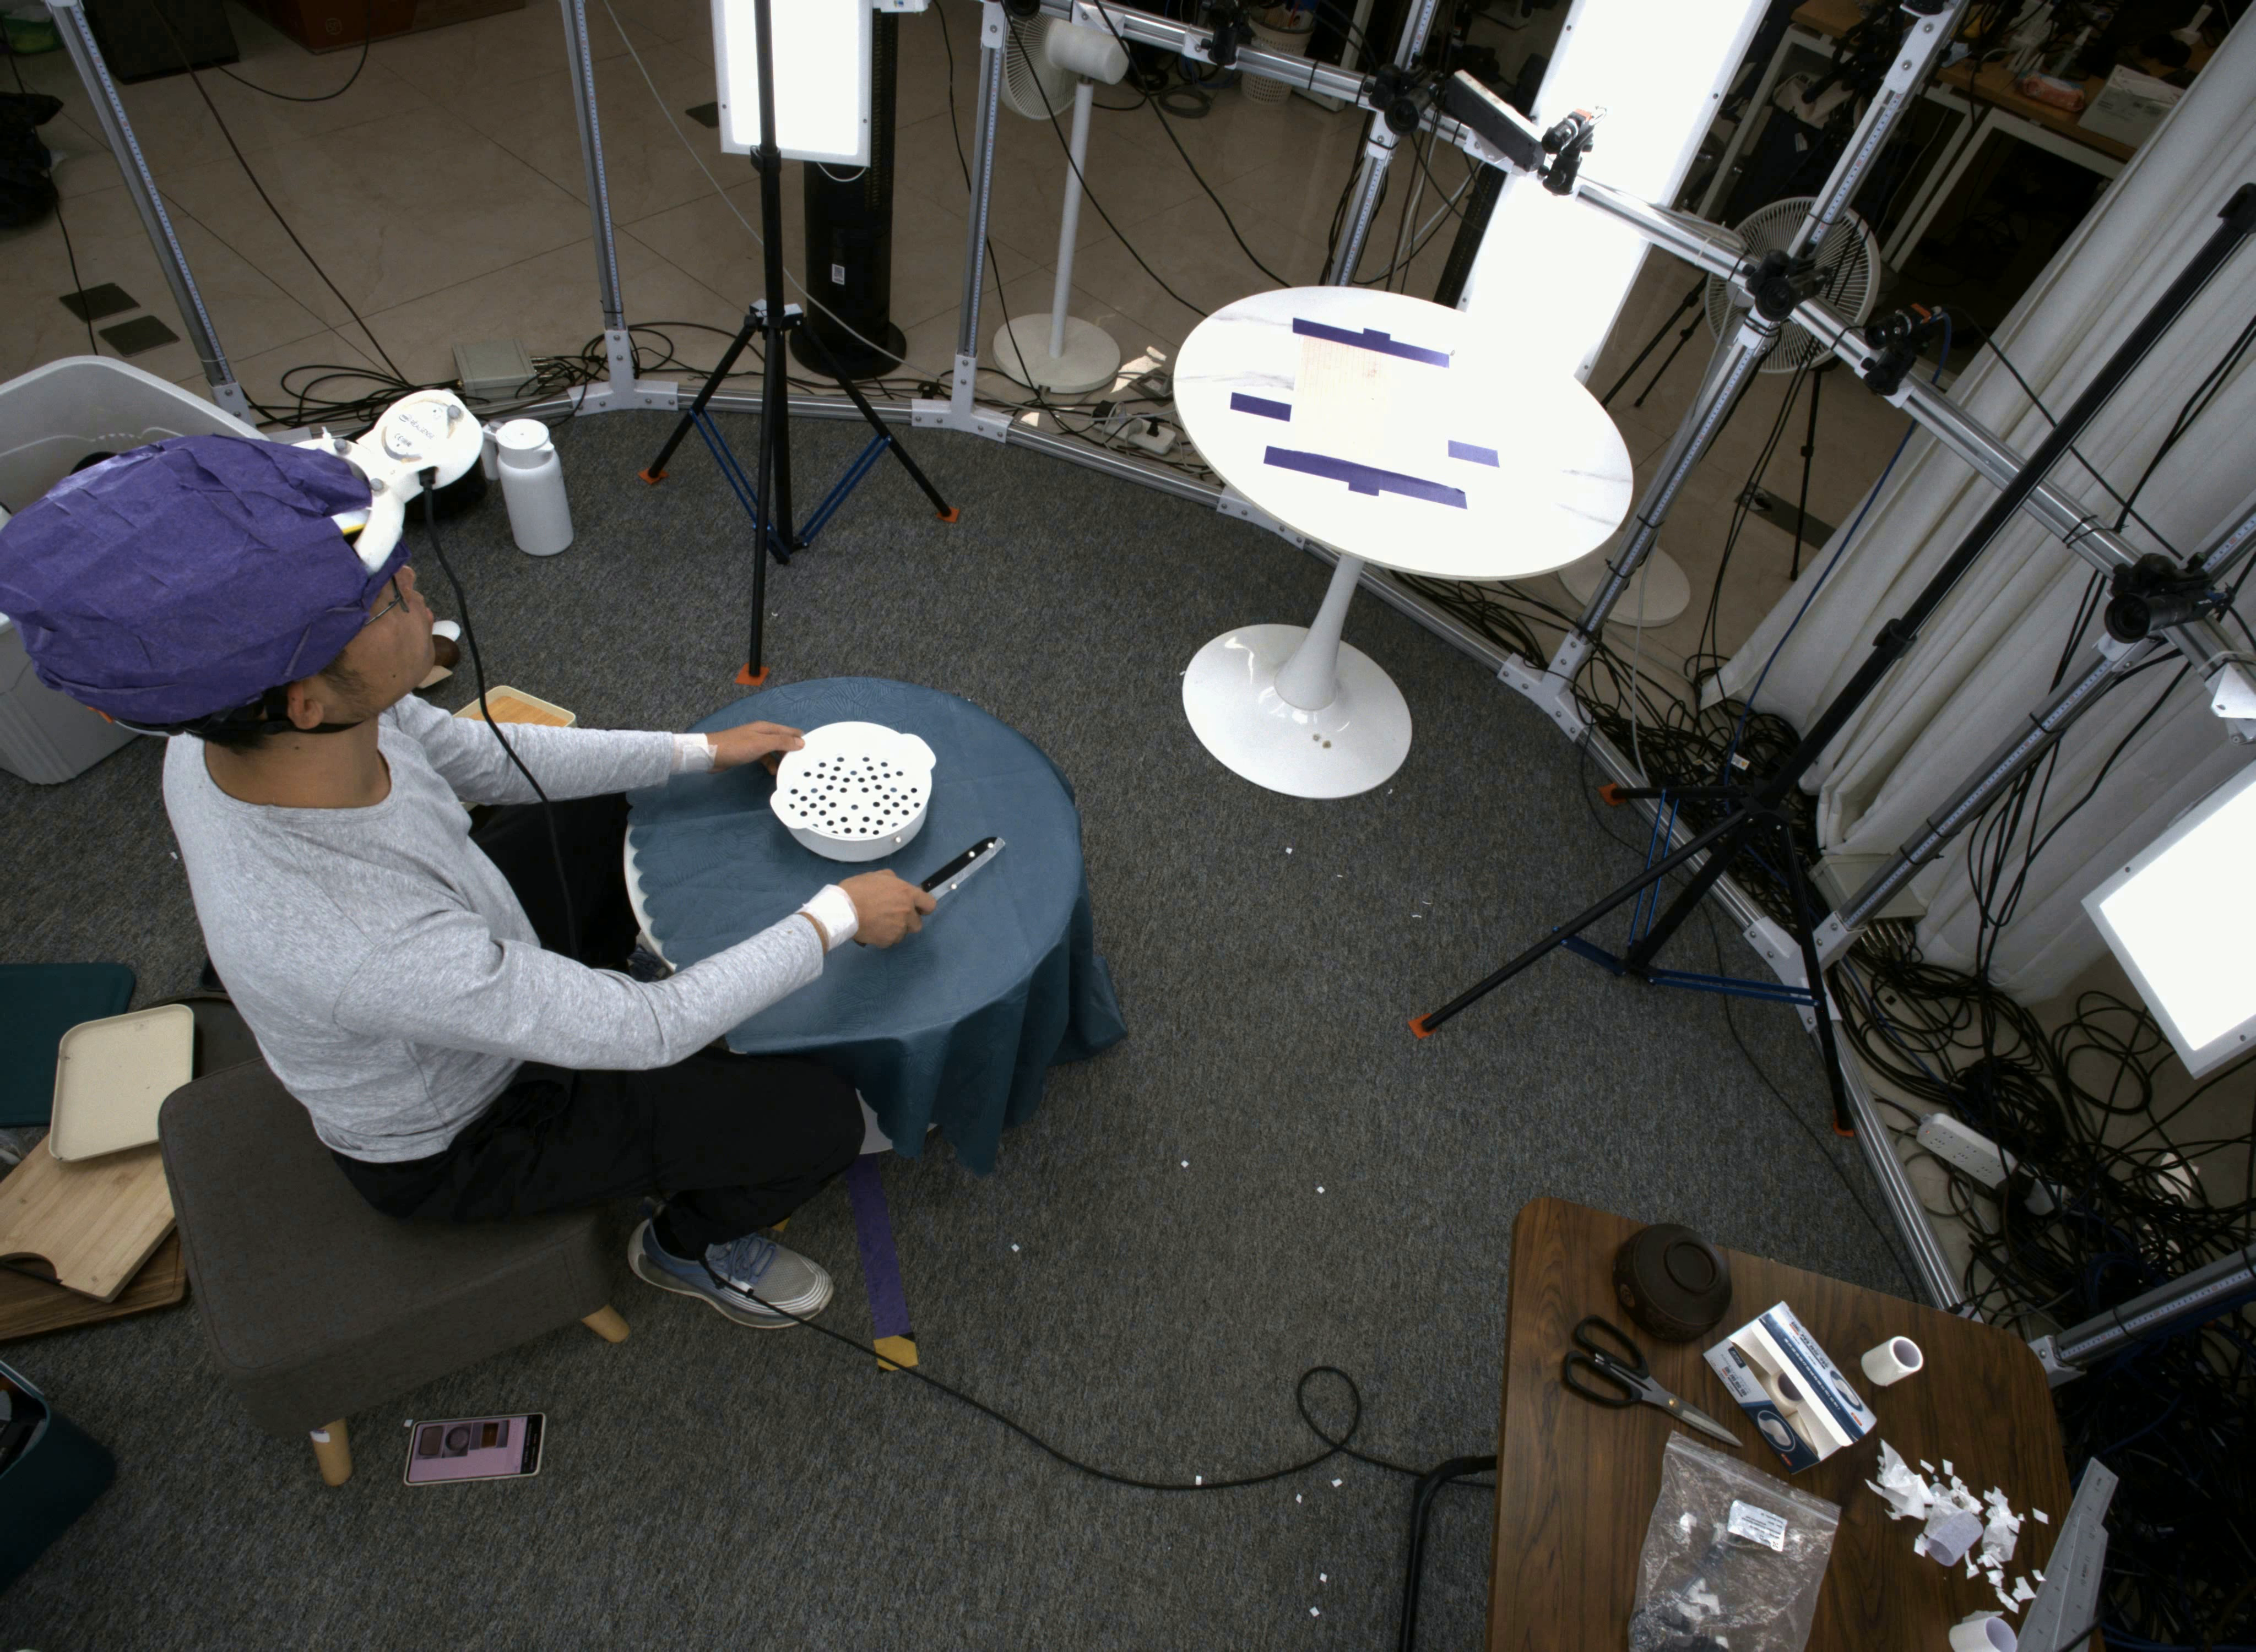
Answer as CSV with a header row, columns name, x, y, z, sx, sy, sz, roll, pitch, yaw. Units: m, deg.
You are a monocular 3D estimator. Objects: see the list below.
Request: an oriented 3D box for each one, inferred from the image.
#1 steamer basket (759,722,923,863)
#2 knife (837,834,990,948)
name,x,y,z,sx,sy,sz,roll,pitch,yaw
steamer basket,-0.381,-0.044,1.736,0.231,0.071,0.197,-30,65,-30
knife,-0.267,0.077,1.667,0.019,0.052,0.290,21,36,26
